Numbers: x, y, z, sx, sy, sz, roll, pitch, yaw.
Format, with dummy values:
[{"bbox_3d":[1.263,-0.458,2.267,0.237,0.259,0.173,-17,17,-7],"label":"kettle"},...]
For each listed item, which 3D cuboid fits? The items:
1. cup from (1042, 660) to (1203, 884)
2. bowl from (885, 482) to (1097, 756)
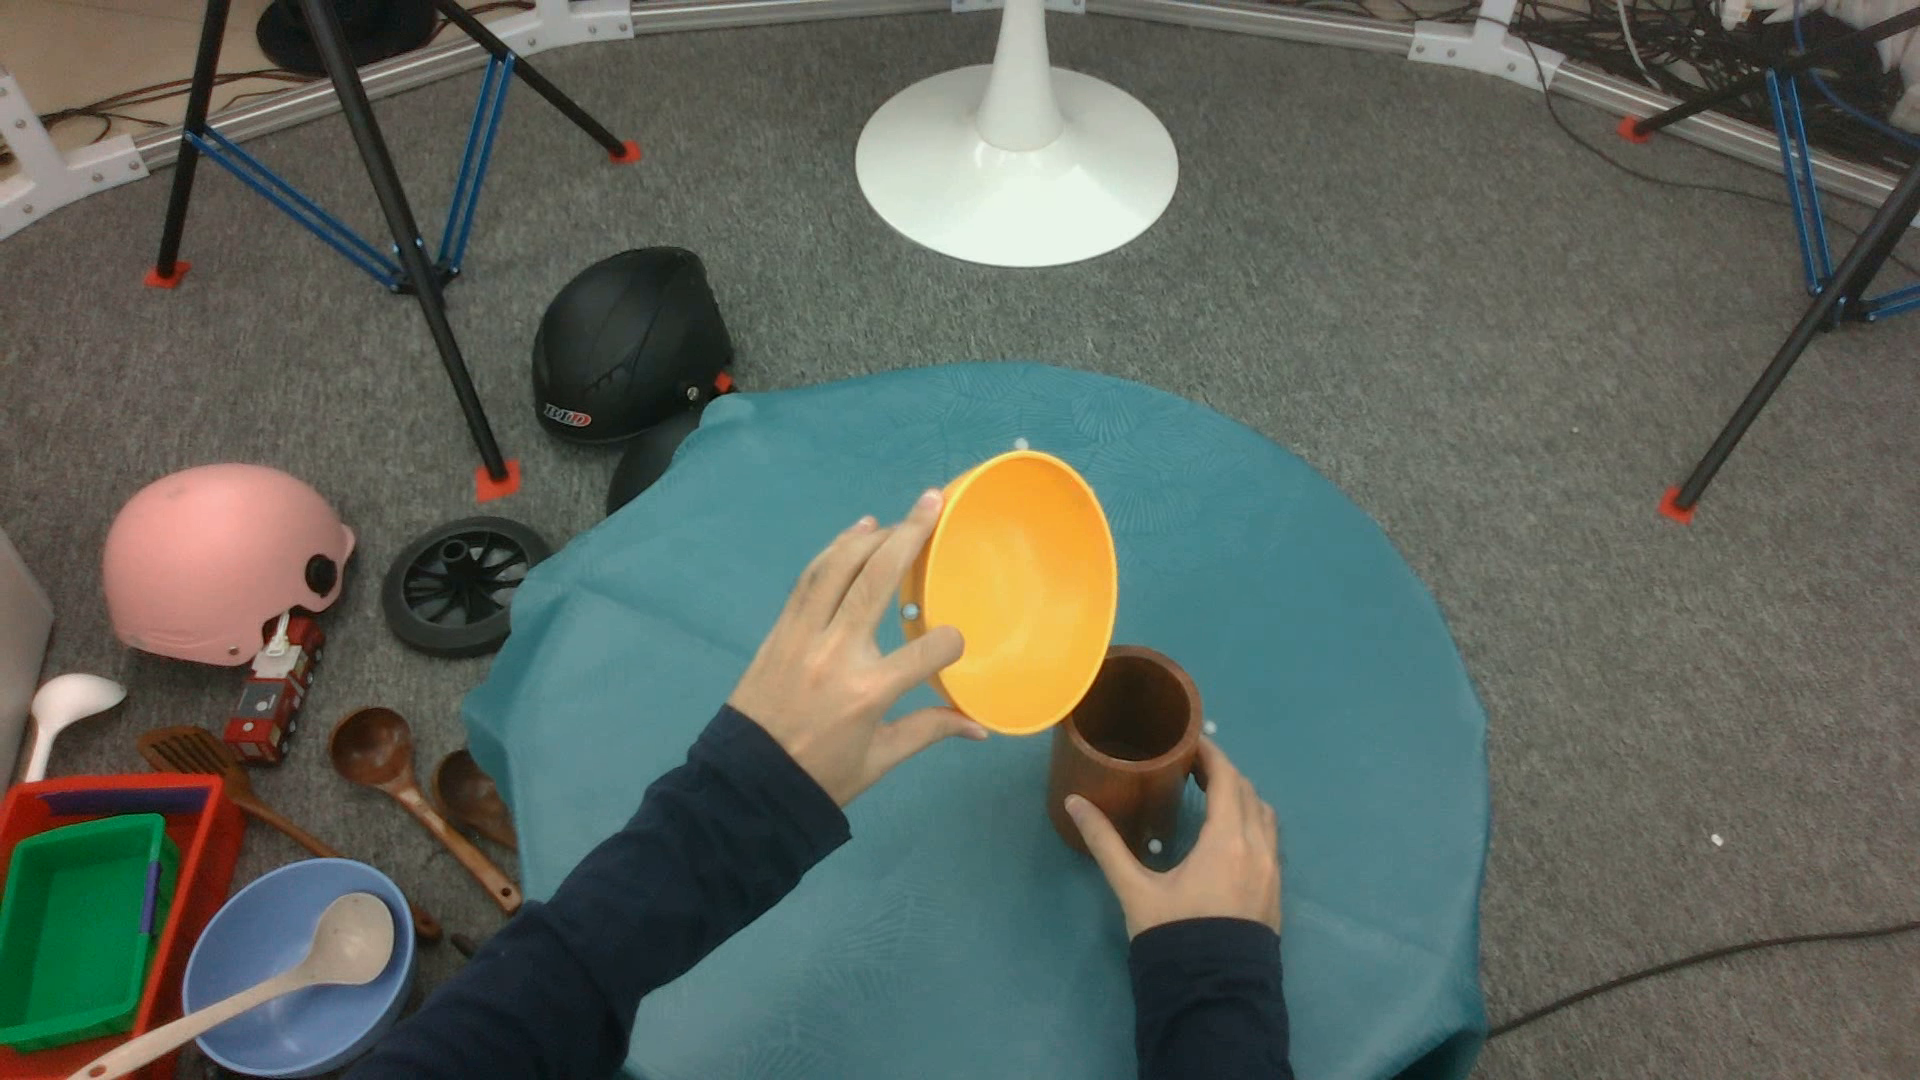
[{"bbox_3d":[0.091,0.135,0.787,0.088,0.118,0.088,-1,50,2],"label":"cup"},{"bbox_3d":[0.006,0.038,0.730,0.060,0.145,0.146,9,46,41],"label":"bowl"}]
